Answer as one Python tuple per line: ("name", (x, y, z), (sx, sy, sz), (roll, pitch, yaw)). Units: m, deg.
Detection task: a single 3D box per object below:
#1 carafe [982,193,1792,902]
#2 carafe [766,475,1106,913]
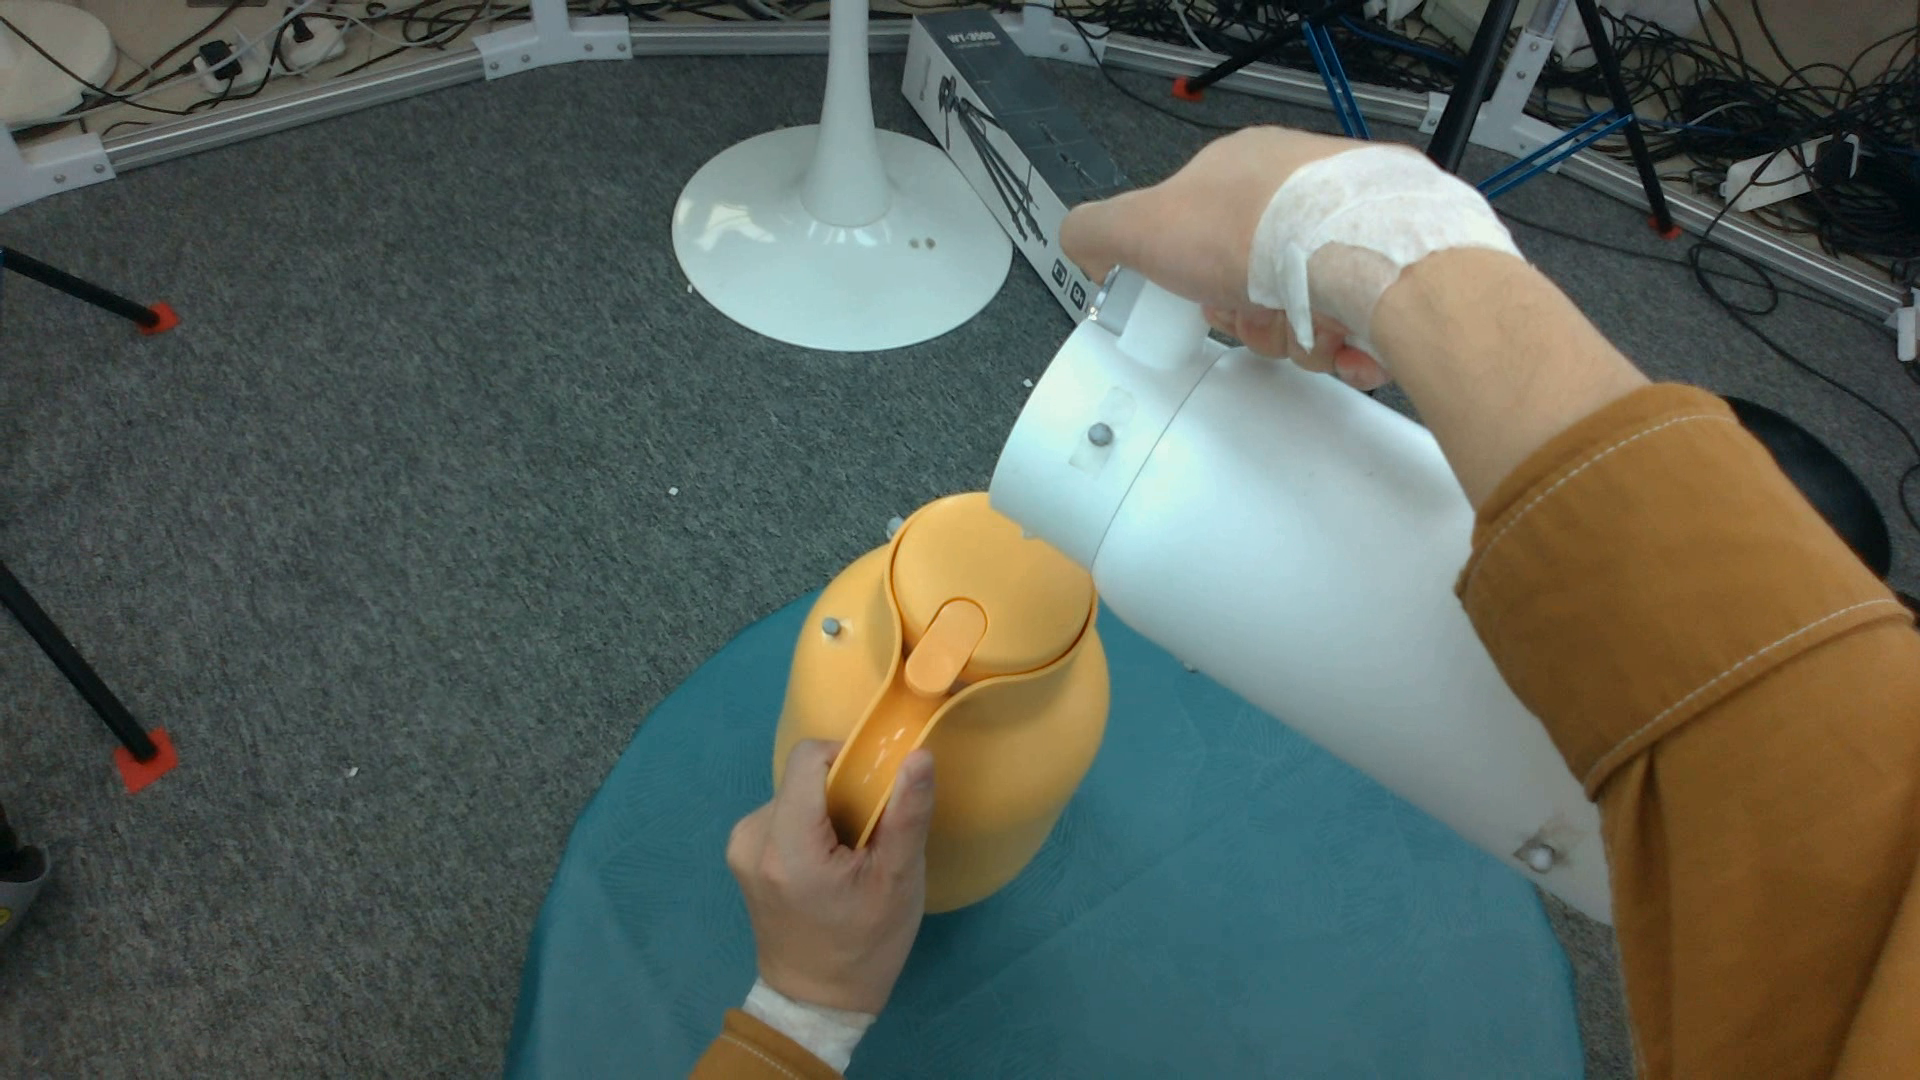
("carafe", (0.150, -0.002, 0.492), (0.269, 0.172, 0.124), (34, 43, 12))
("carafe", (-0.020, 0.087, 0.688), (0.163, 0.259, 0.203), (32, 55, 11))
